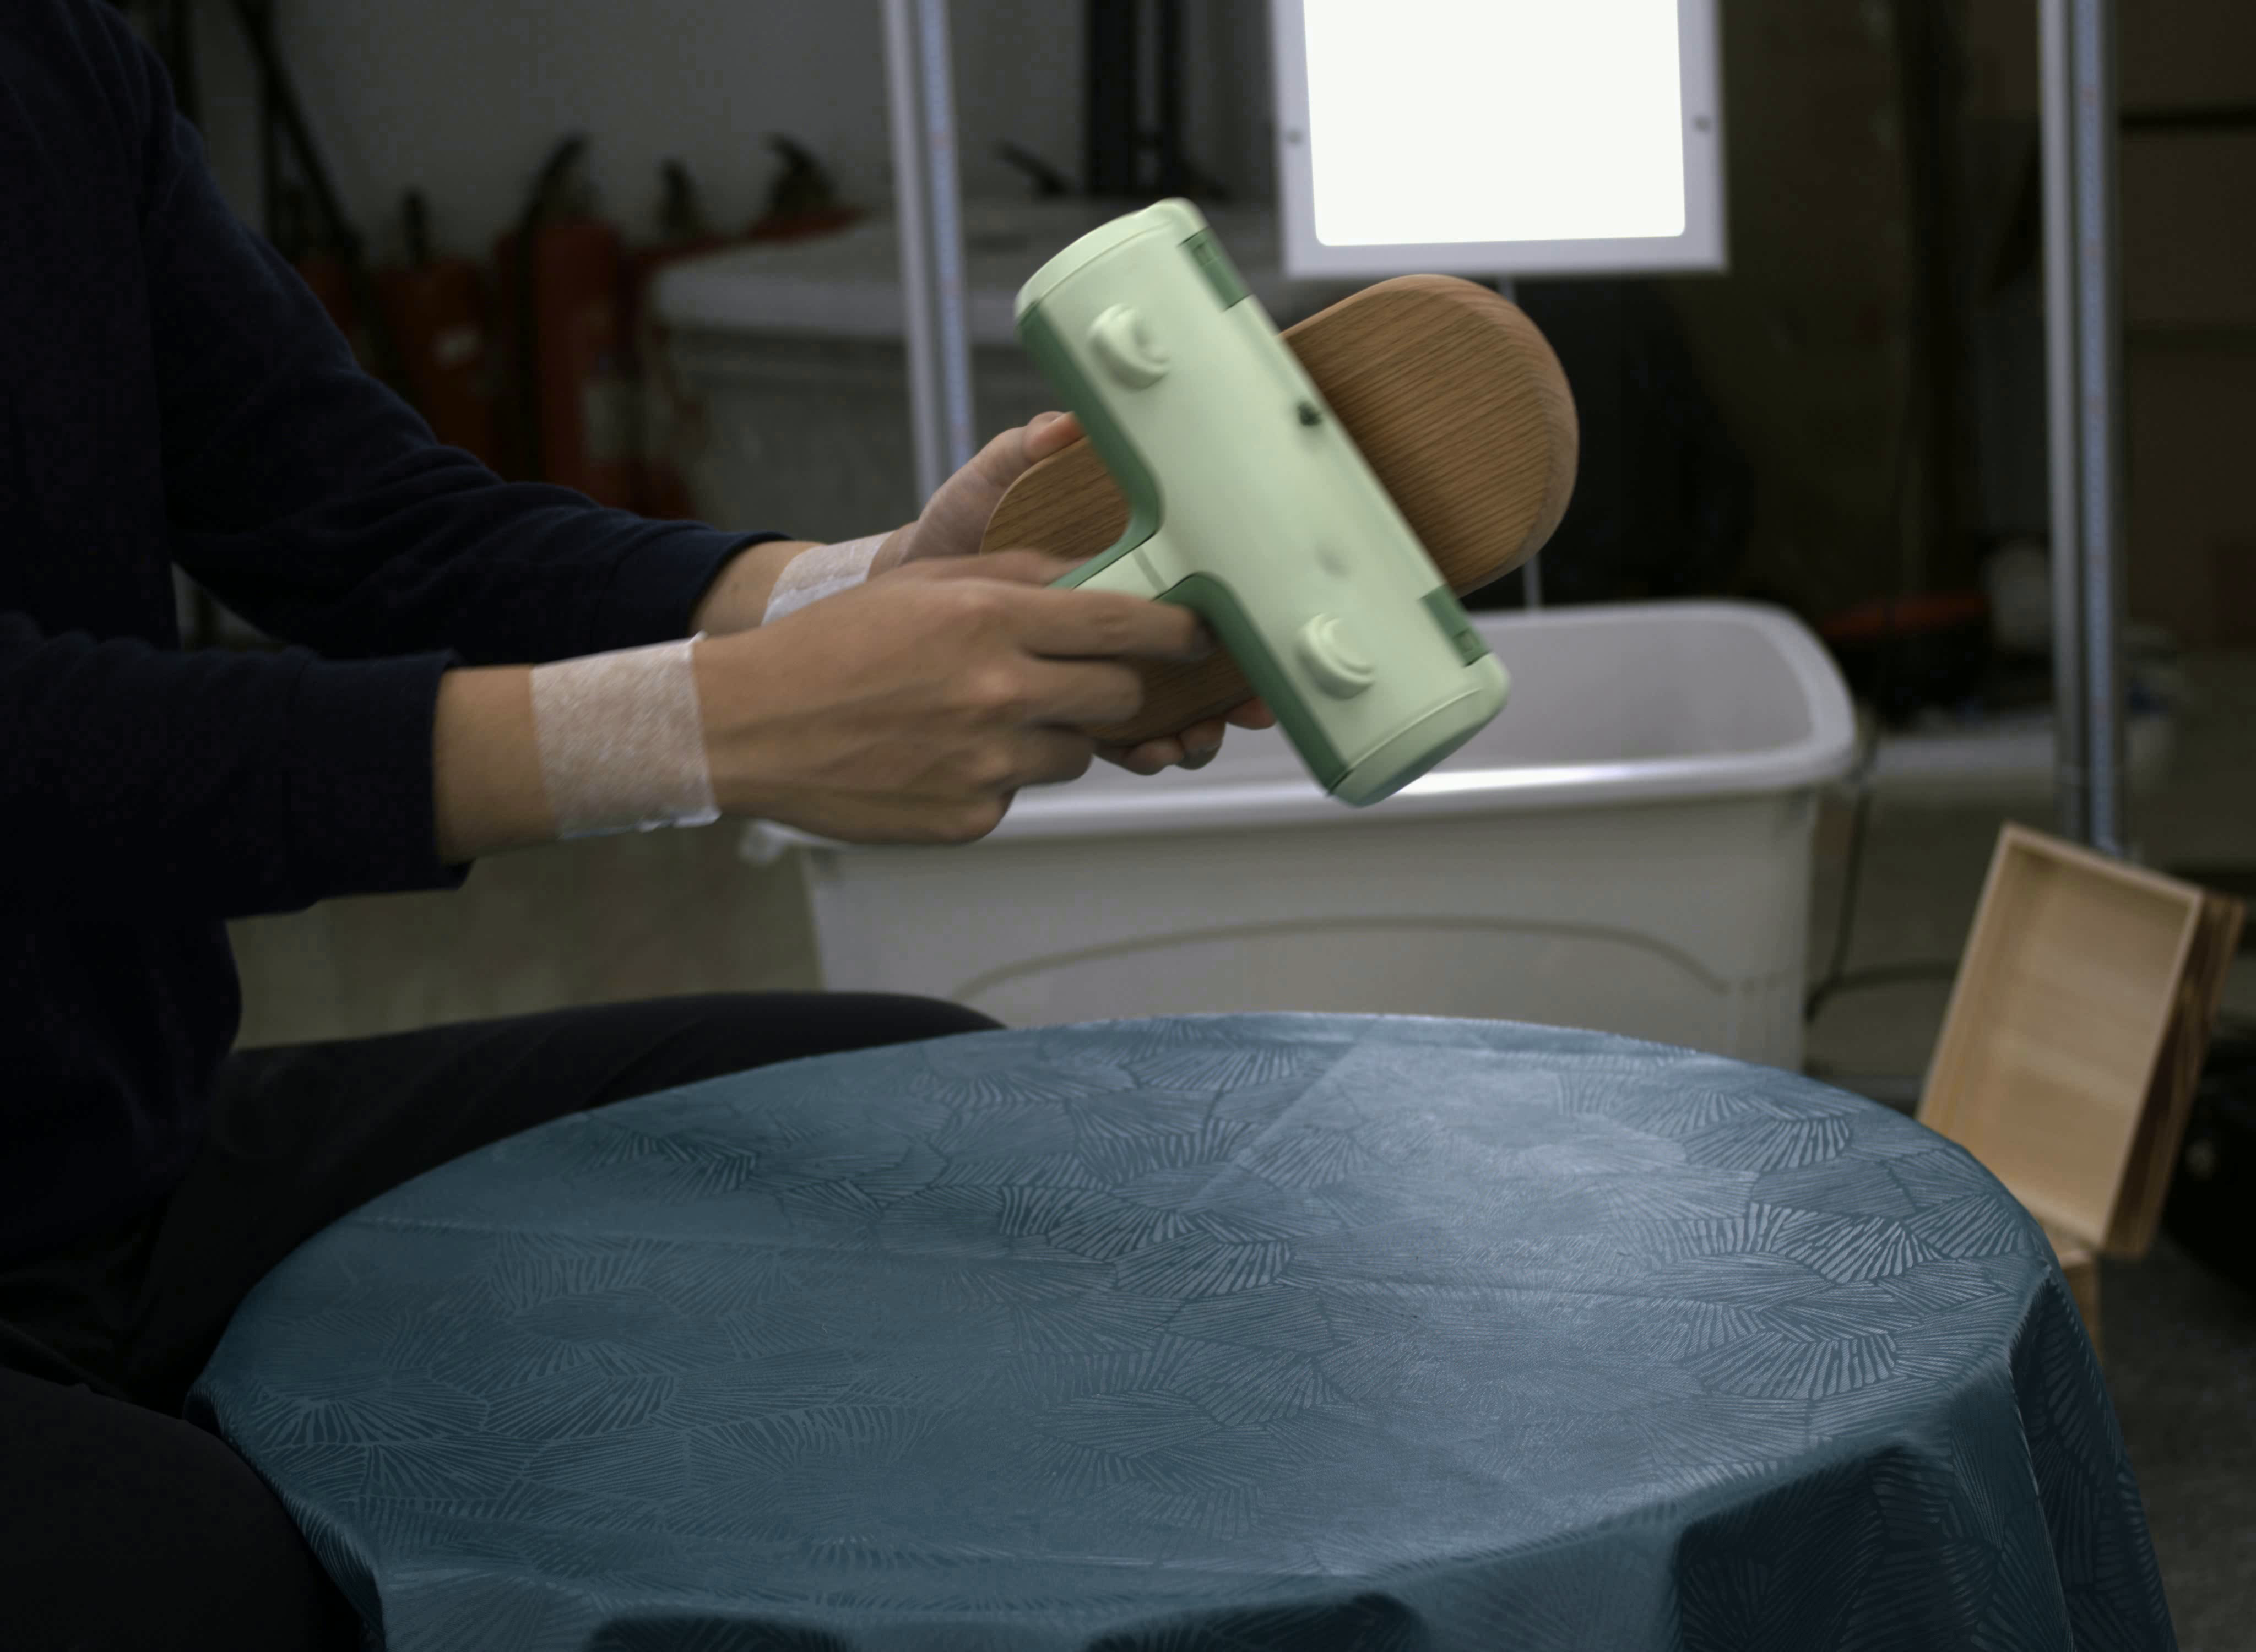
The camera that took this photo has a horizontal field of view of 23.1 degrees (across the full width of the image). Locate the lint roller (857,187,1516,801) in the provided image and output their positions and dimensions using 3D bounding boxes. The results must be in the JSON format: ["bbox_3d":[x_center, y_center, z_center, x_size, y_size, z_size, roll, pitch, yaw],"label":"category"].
[{"bbox_3d":[-0.006,-0.073,1.690,0.182,0.199,0.082,-33,-9,-4],"label":"lint roller"}]

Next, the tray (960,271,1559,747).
[{"bbox_3d":[0.038,-0.098,1.746,0.236,0.102,0.020,-25,-3,35],"label":"tray"}]
